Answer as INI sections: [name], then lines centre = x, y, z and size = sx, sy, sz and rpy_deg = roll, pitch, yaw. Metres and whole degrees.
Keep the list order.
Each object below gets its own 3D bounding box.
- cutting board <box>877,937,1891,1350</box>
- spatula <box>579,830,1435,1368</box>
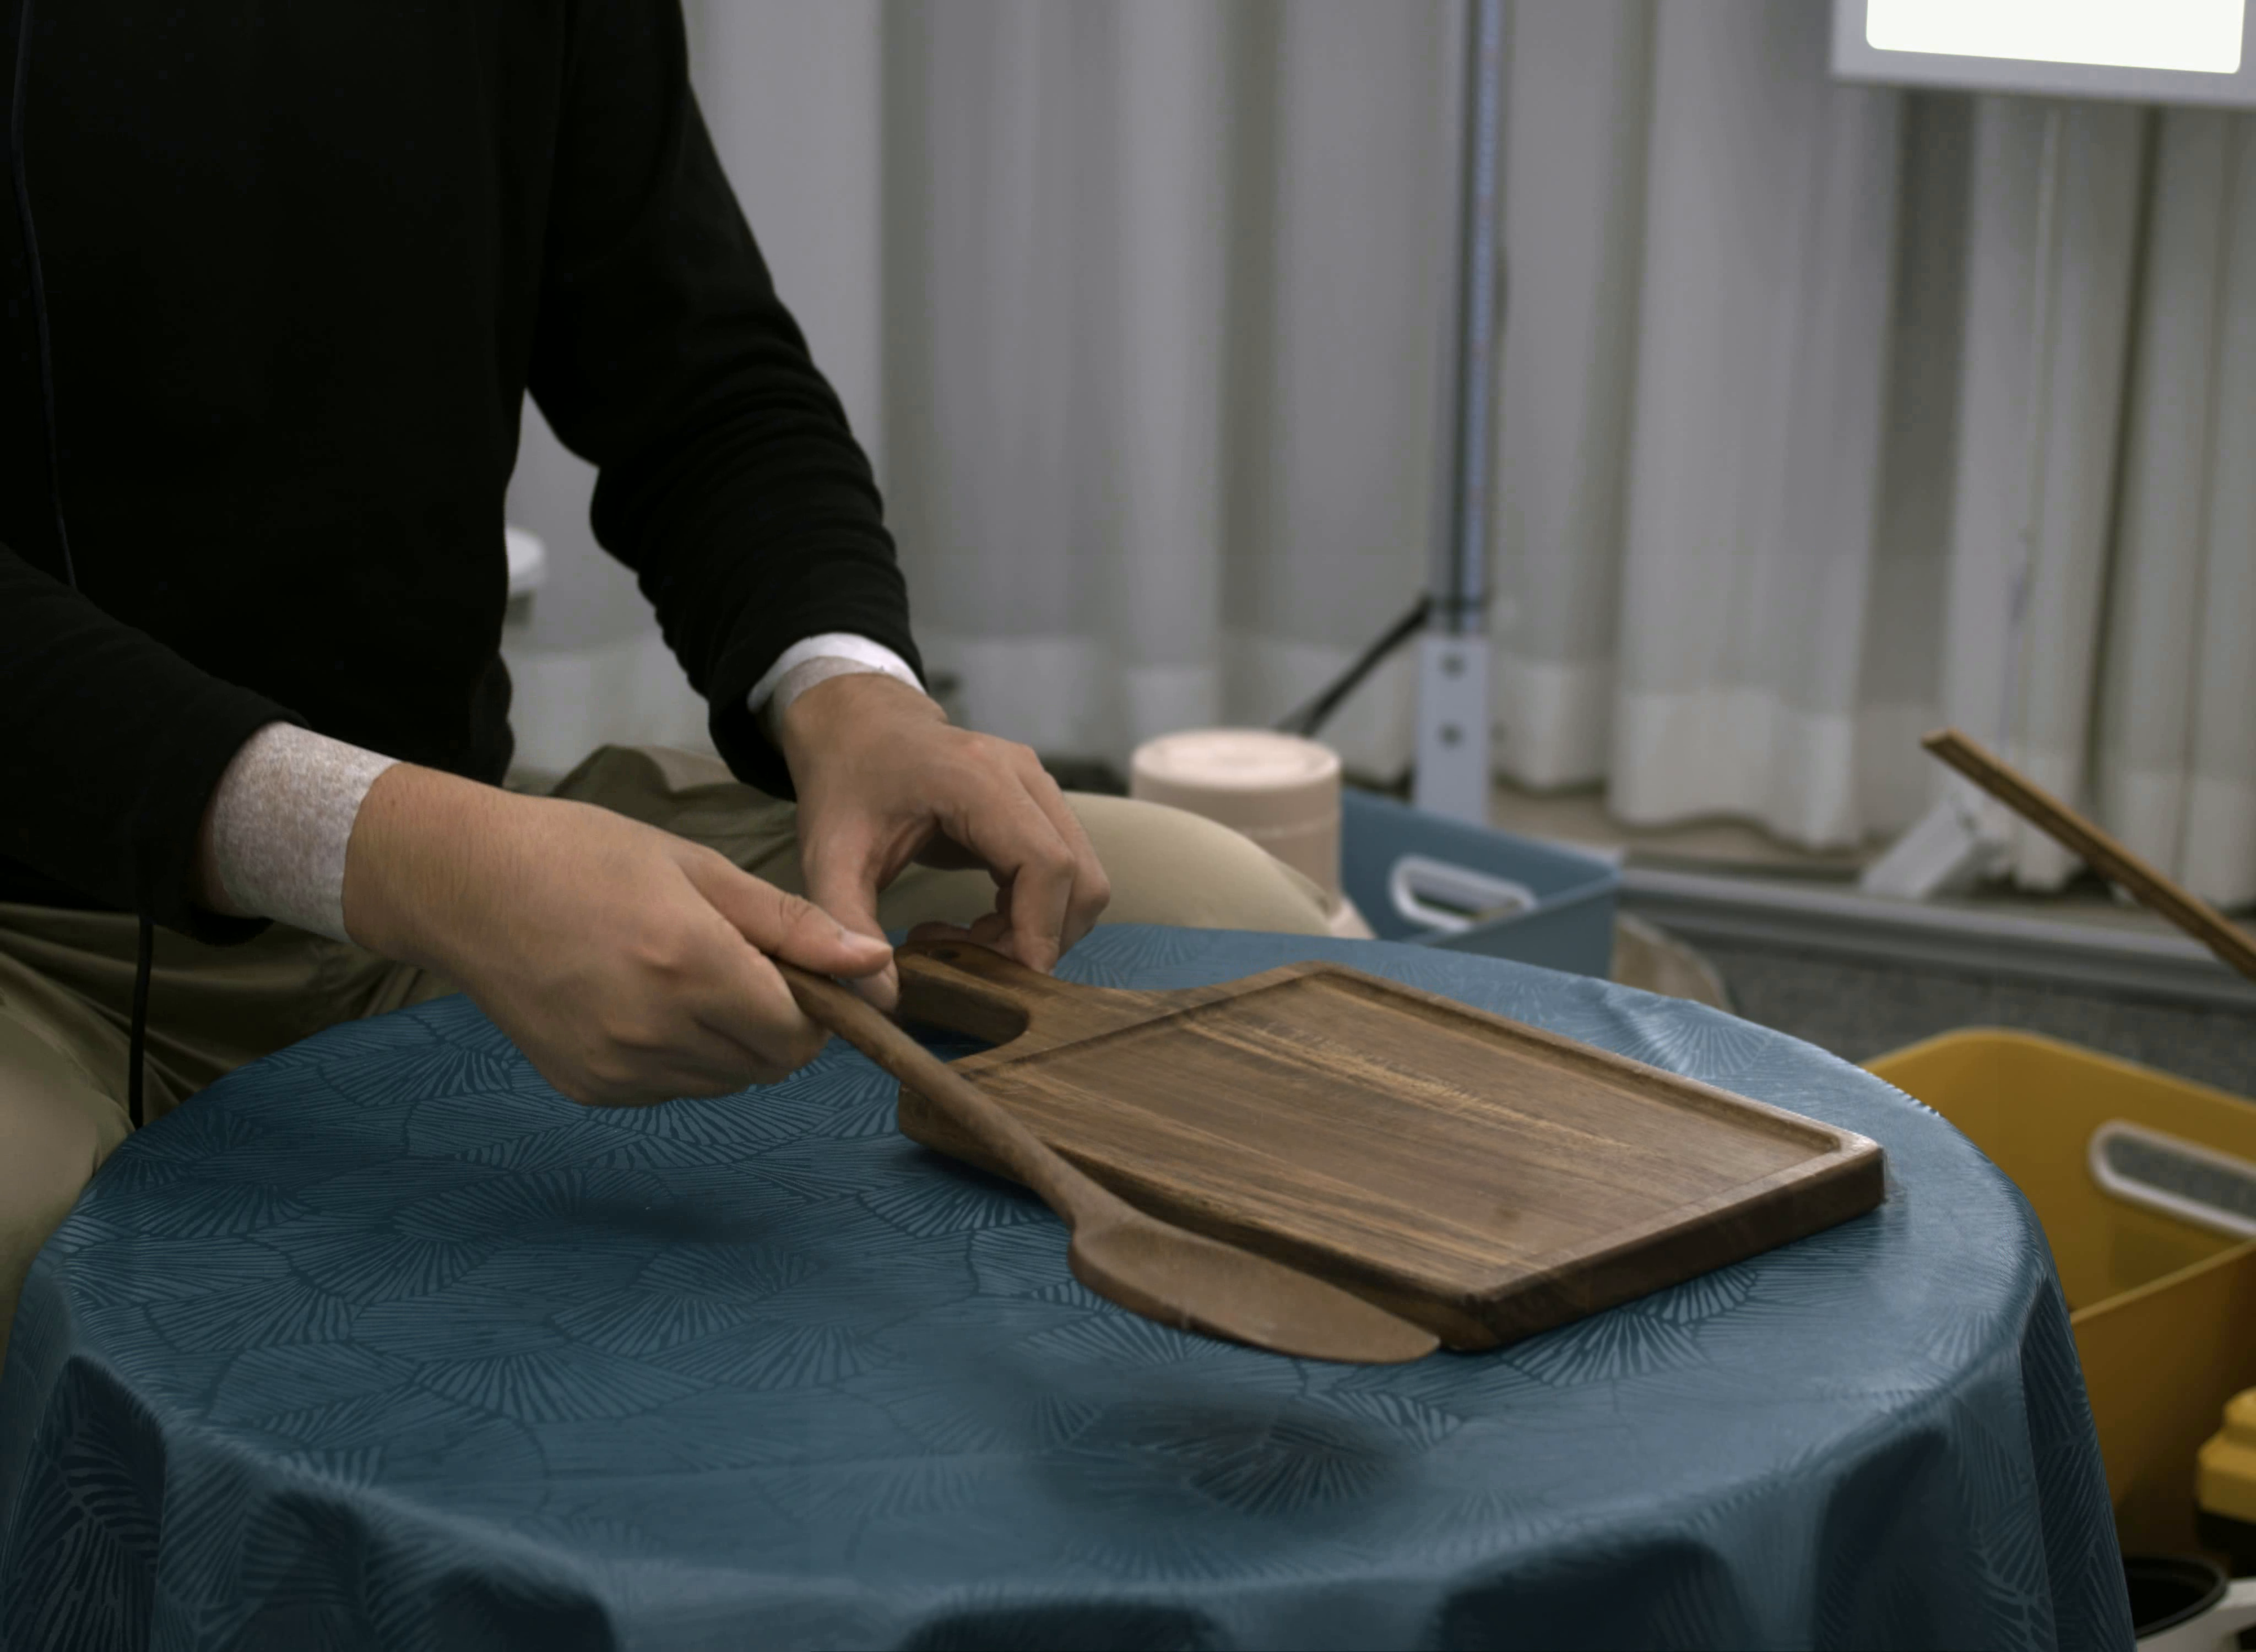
[cutting board]
centre = 0.046, 0.085, 1.662
size = 0.347, 0.023, 0.202
rpy_deg = 17, 22, 42
[spatula]
centre = -0.056, 0.071, 1.512
size = 0.097, 0.016, 0.380
rpy_deg = 10, 15, -41
